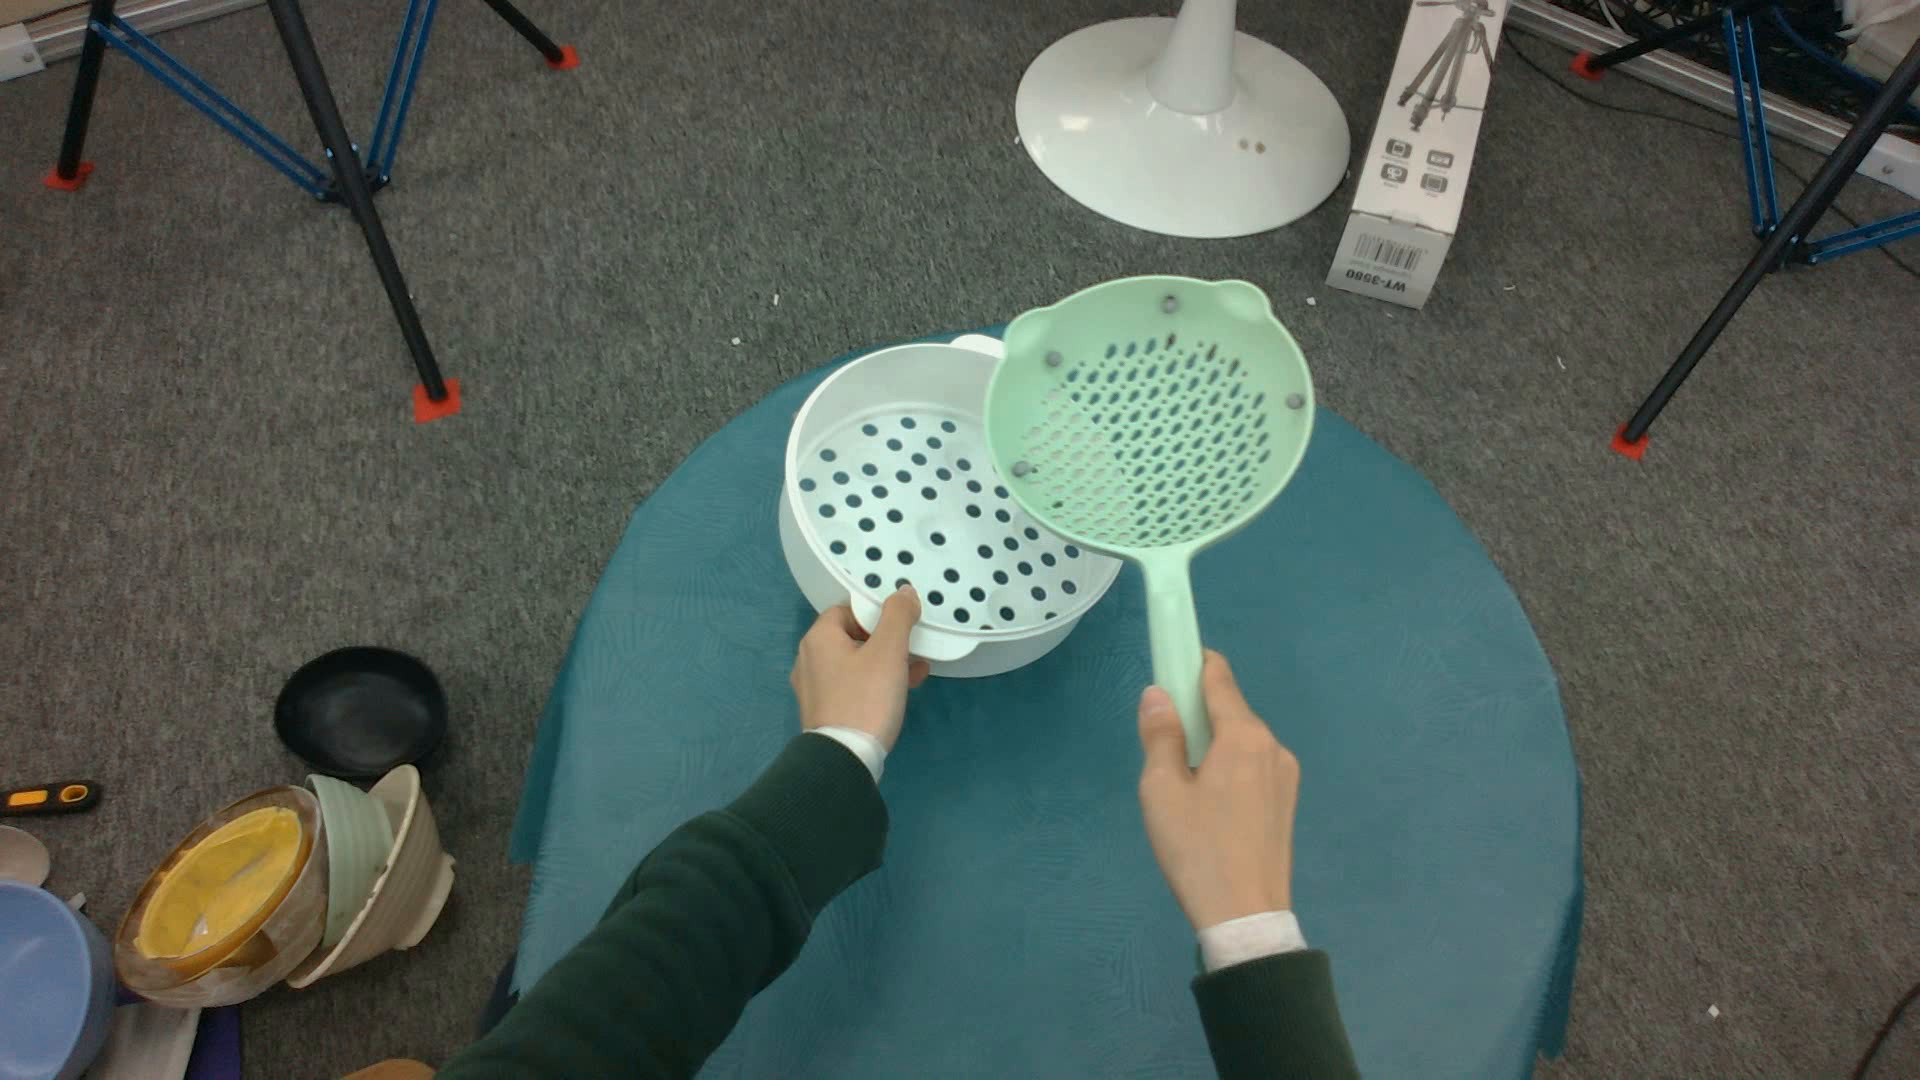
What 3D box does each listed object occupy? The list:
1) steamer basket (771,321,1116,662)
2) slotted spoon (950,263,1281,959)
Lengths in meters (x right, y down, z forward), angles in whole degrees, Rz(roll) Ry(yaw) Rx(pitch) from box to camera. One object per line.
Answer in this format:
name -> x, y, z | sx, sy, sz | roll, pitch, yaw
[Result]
steamer basket -> -0.010, -0.025, 0.799 | 0.202, 0.069, 0.232 | 20, 54, -3
slotted spoon -> 0.088, 0.015, 0.671 | 0.169, 0.075, 0.360 | -7, 53, 5
